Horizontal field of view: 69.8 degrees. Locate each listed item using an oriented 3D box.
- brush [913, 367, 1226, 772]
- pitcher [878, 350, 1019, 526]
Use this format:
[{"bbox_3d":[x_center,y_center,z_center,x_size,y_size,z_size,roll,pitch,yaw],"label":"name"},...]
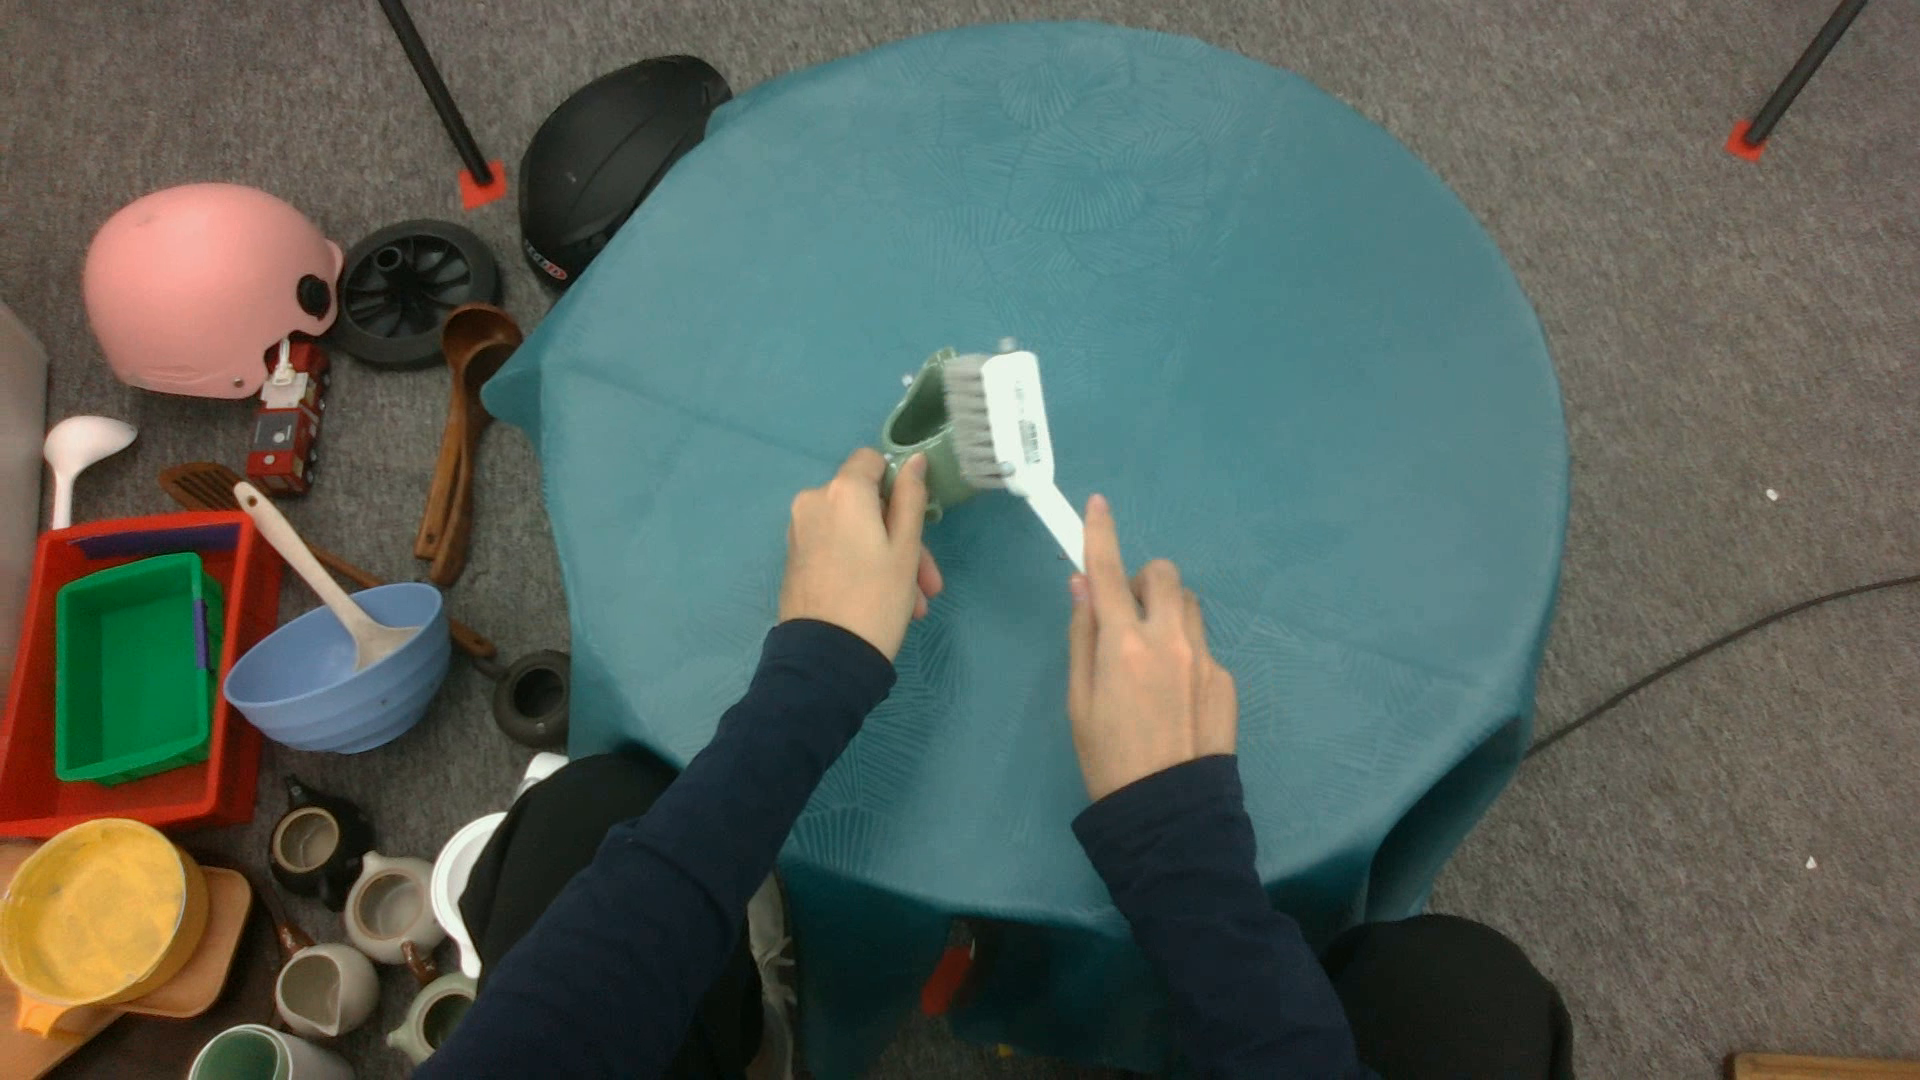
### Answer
[{"bbox_3d":[0.052,0.018,0.696,0.243,0.050,0.034,58,38,-1],"label":"brush"},{"bbox_3d":[-0.012,-0.049,0.758,0.084,0.056,0.113,-14,42,30],"label":"pitcher"}]
